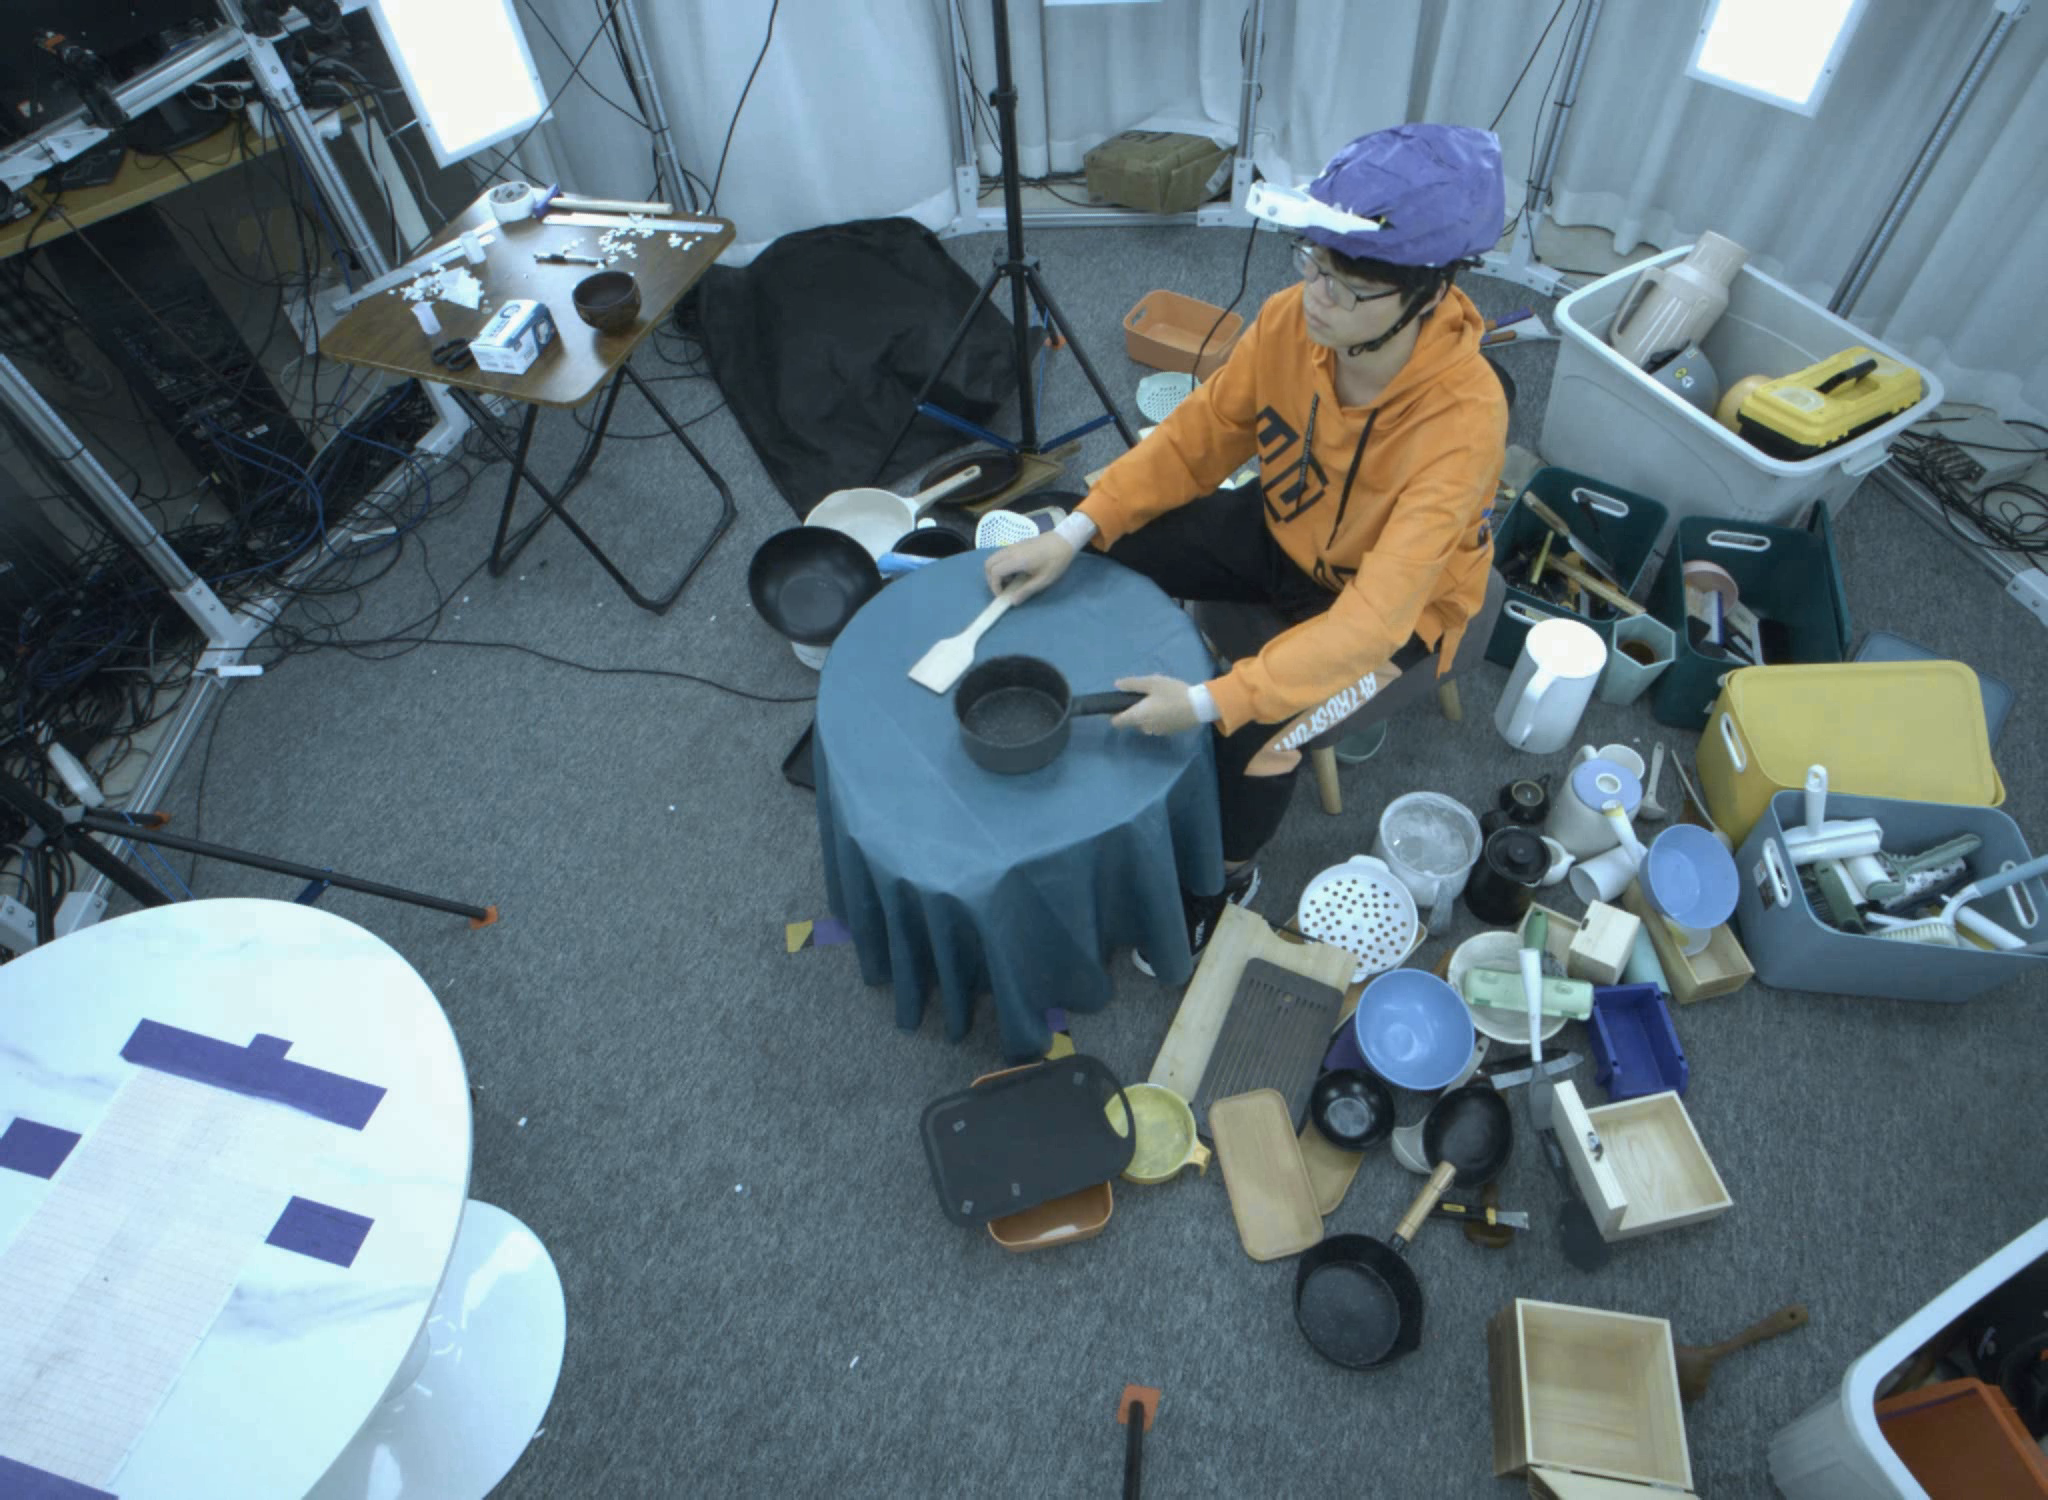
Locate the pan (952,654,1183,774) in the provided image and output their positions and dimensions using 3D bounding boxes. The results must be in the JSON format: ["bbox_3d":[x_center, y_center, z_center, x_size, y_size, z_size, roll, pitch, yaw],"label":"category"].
[{"bbox_3d":[0.064,-0.053,1.770,0.328,0.087,0.170,0,56,4],"label":"pan"}]

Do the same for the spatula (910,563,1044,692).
[{"bbox_3d":[-0.064,-0.200,1.923,0.071,0.011,0.294,29,62,24],"label":"spatula"}]
